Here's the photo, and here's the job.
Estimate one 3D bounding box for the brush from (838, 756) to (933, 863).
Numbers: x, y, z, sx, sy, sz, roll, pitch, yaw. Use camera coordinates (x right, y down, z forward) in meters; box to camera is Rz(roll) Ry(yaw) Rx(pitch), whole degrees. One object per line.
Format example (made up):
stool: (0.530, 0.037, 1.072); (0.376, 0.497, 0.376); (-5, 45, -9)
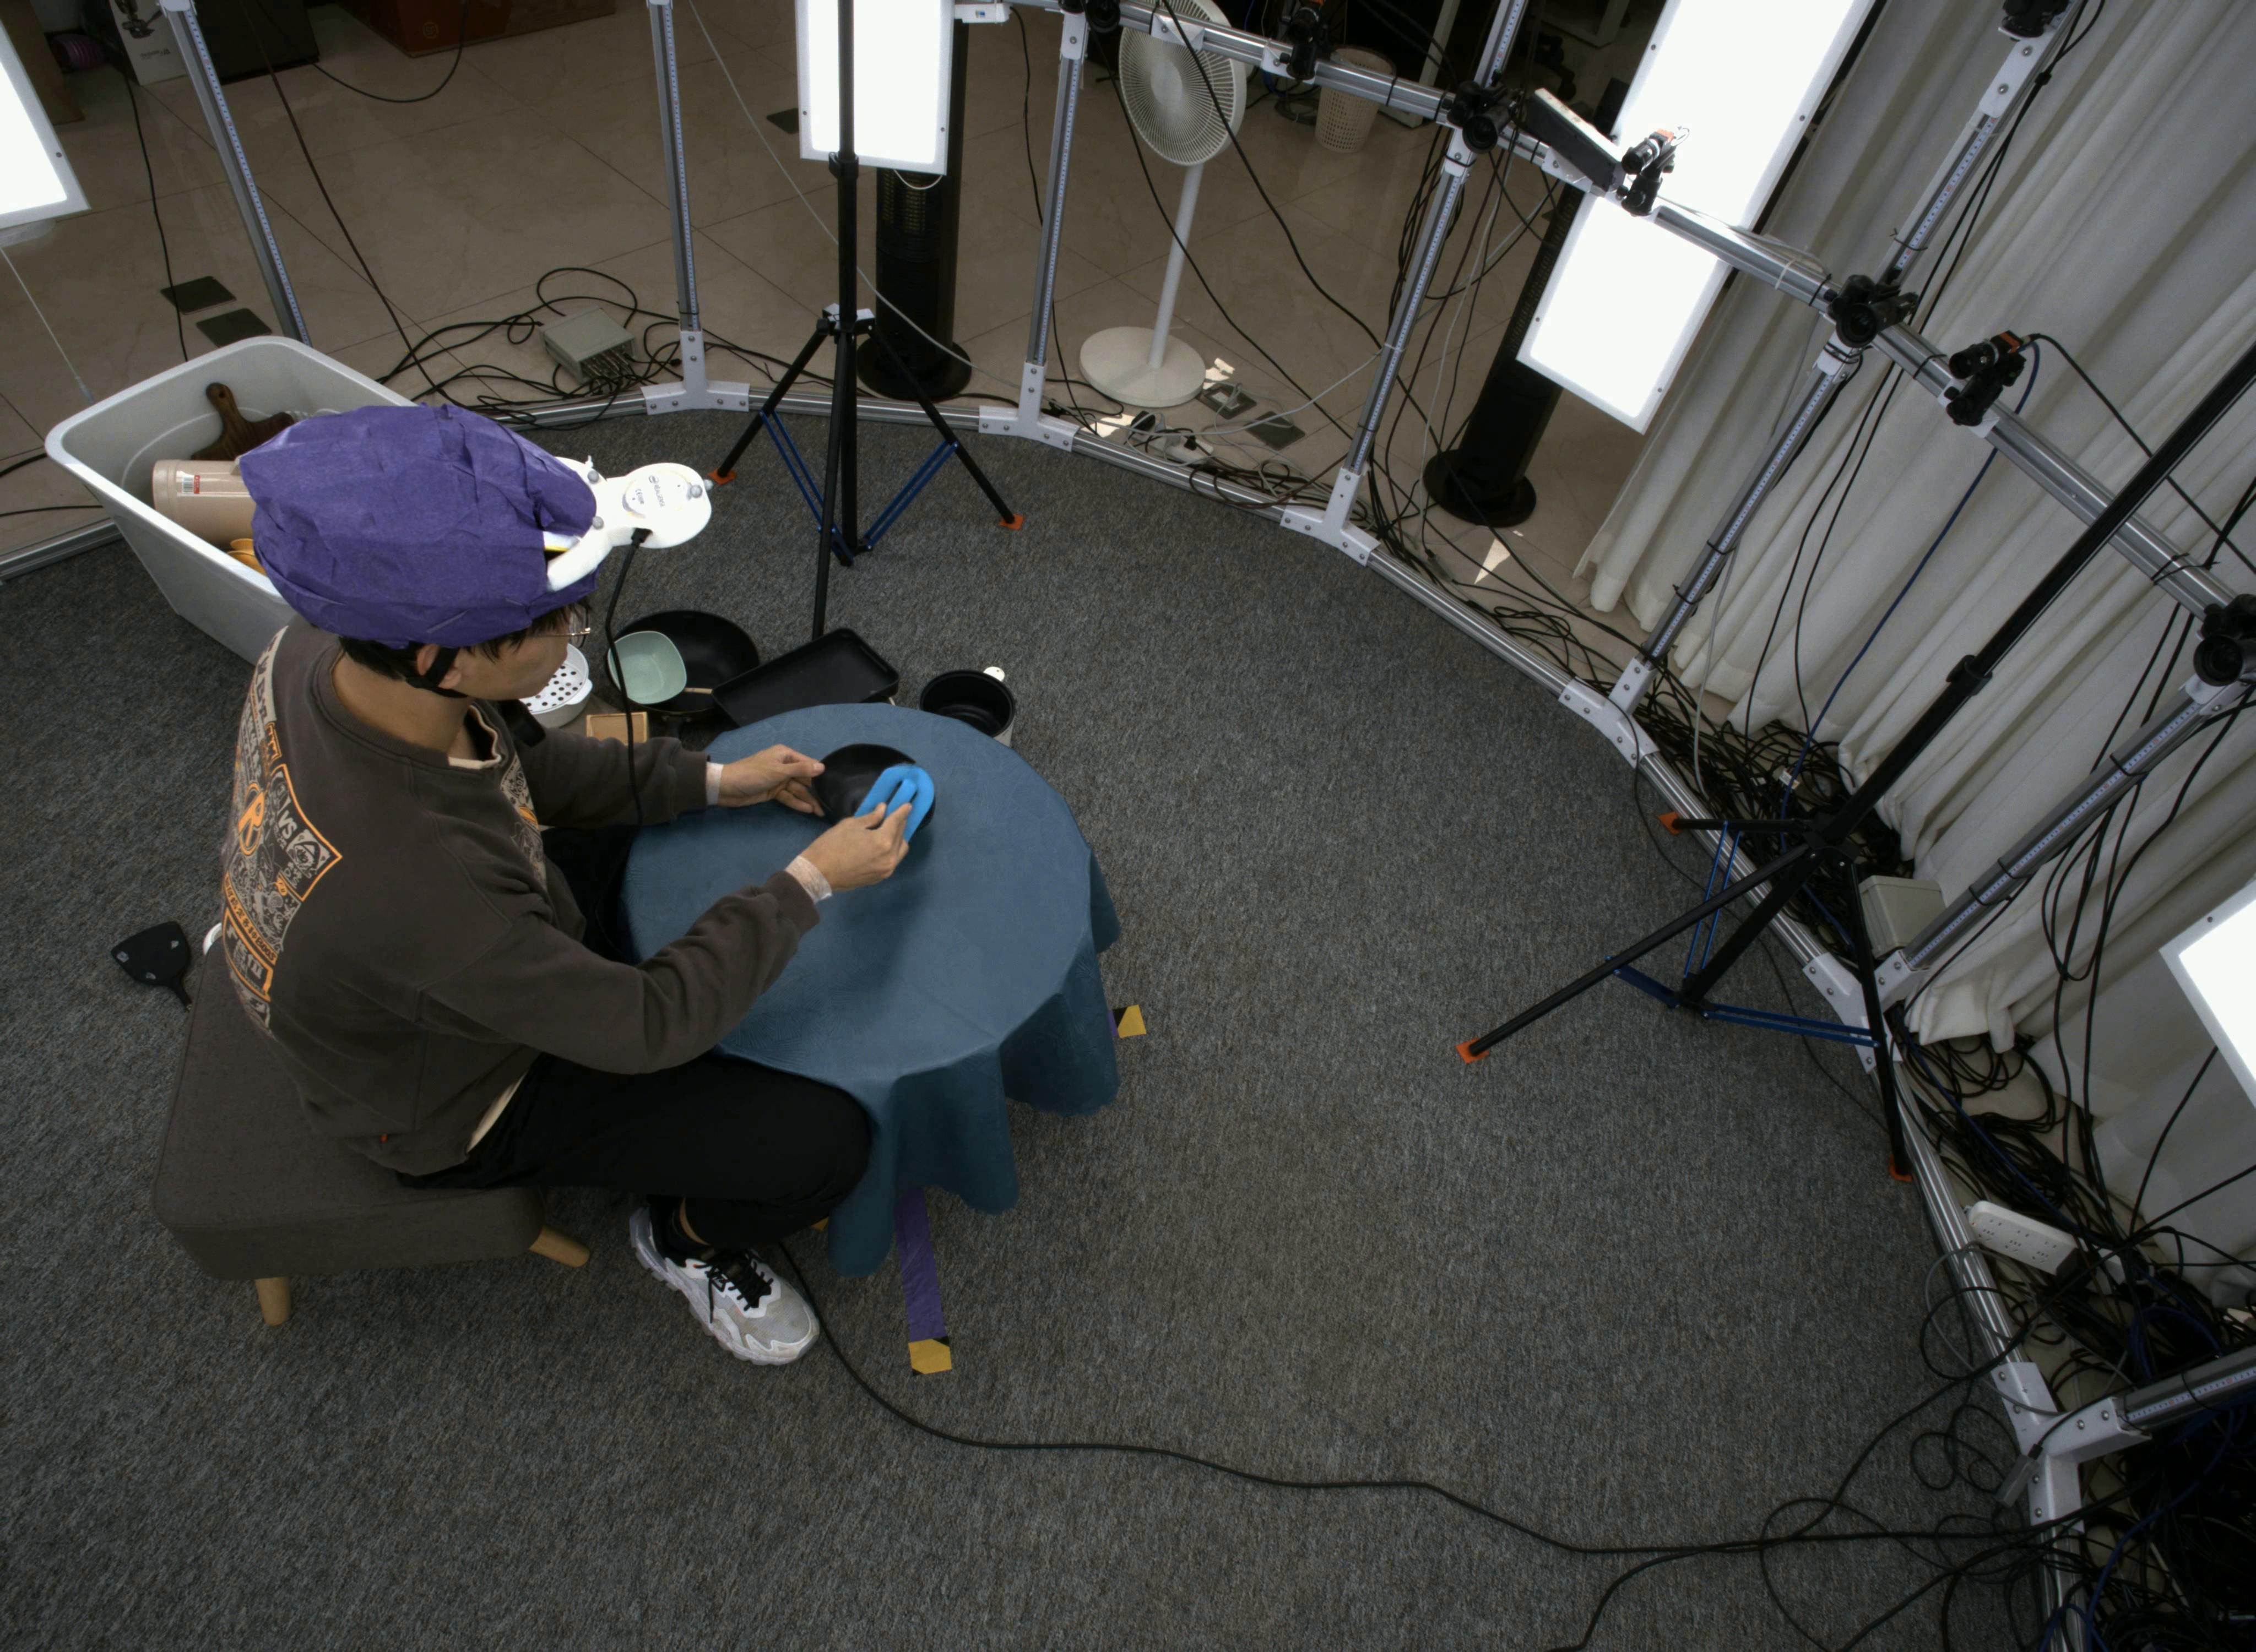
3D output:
brush: (-0.296, -0.020, 1.609); (0.086, 0.063, 0.142); (37, 77, -15)

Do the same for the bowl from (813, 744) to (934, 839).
bowl: (-0.340, -0.034, 1.744); (0.168, 0.068, 0.136); (24, 53, 3)
